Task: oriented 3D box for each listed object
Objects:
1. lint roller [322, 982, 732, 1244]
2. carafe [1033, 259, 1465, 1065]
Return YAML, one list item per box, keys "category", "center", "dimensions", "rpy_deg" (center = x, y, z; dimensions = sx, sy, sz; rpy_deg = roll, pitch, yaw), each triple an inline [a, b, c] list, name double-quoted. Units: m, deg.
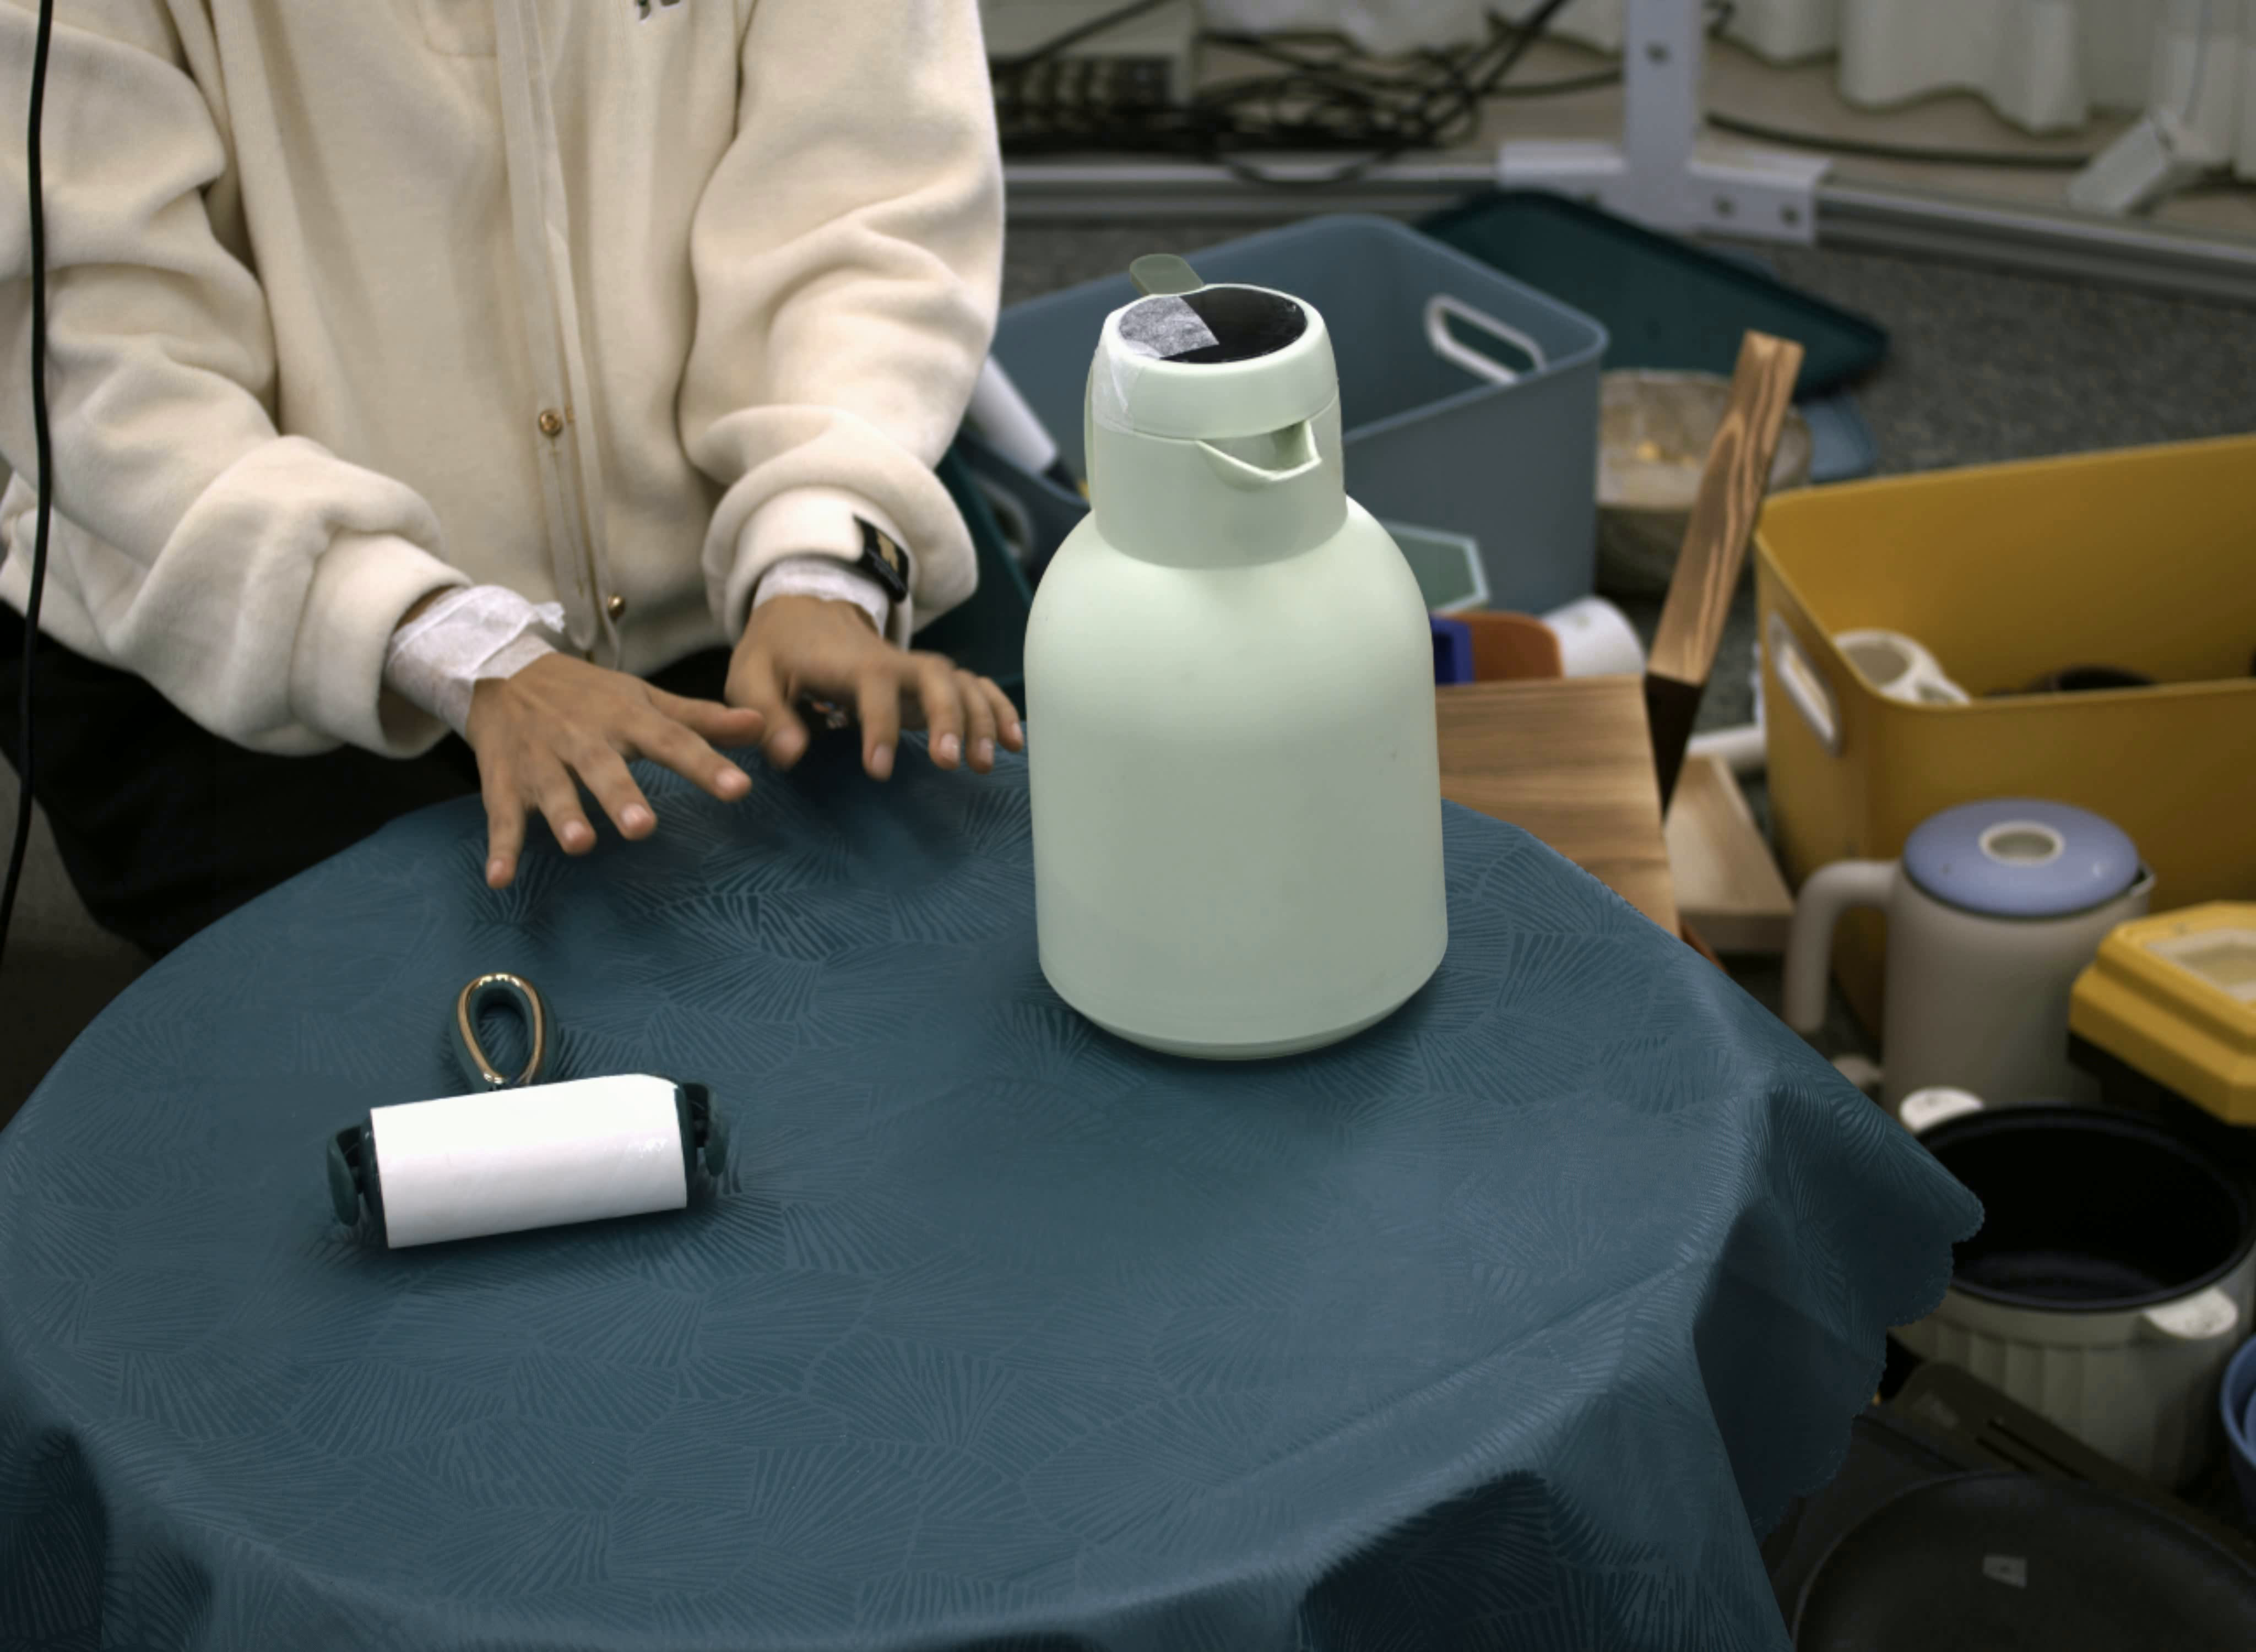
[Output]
- category: "lint roller"
  center: [-0.210, 0.079, 1.911]
  dimensions: [0.134, 0.048, 0.182]
  rpy_deg: [-6, 28, -9]
- category: "carafe"
  center: [0.033, -0.062, 1.946]
  dimensions: [0.144, 0.254, 0.188]
  rpy_deg: [-13, 24, -14]
